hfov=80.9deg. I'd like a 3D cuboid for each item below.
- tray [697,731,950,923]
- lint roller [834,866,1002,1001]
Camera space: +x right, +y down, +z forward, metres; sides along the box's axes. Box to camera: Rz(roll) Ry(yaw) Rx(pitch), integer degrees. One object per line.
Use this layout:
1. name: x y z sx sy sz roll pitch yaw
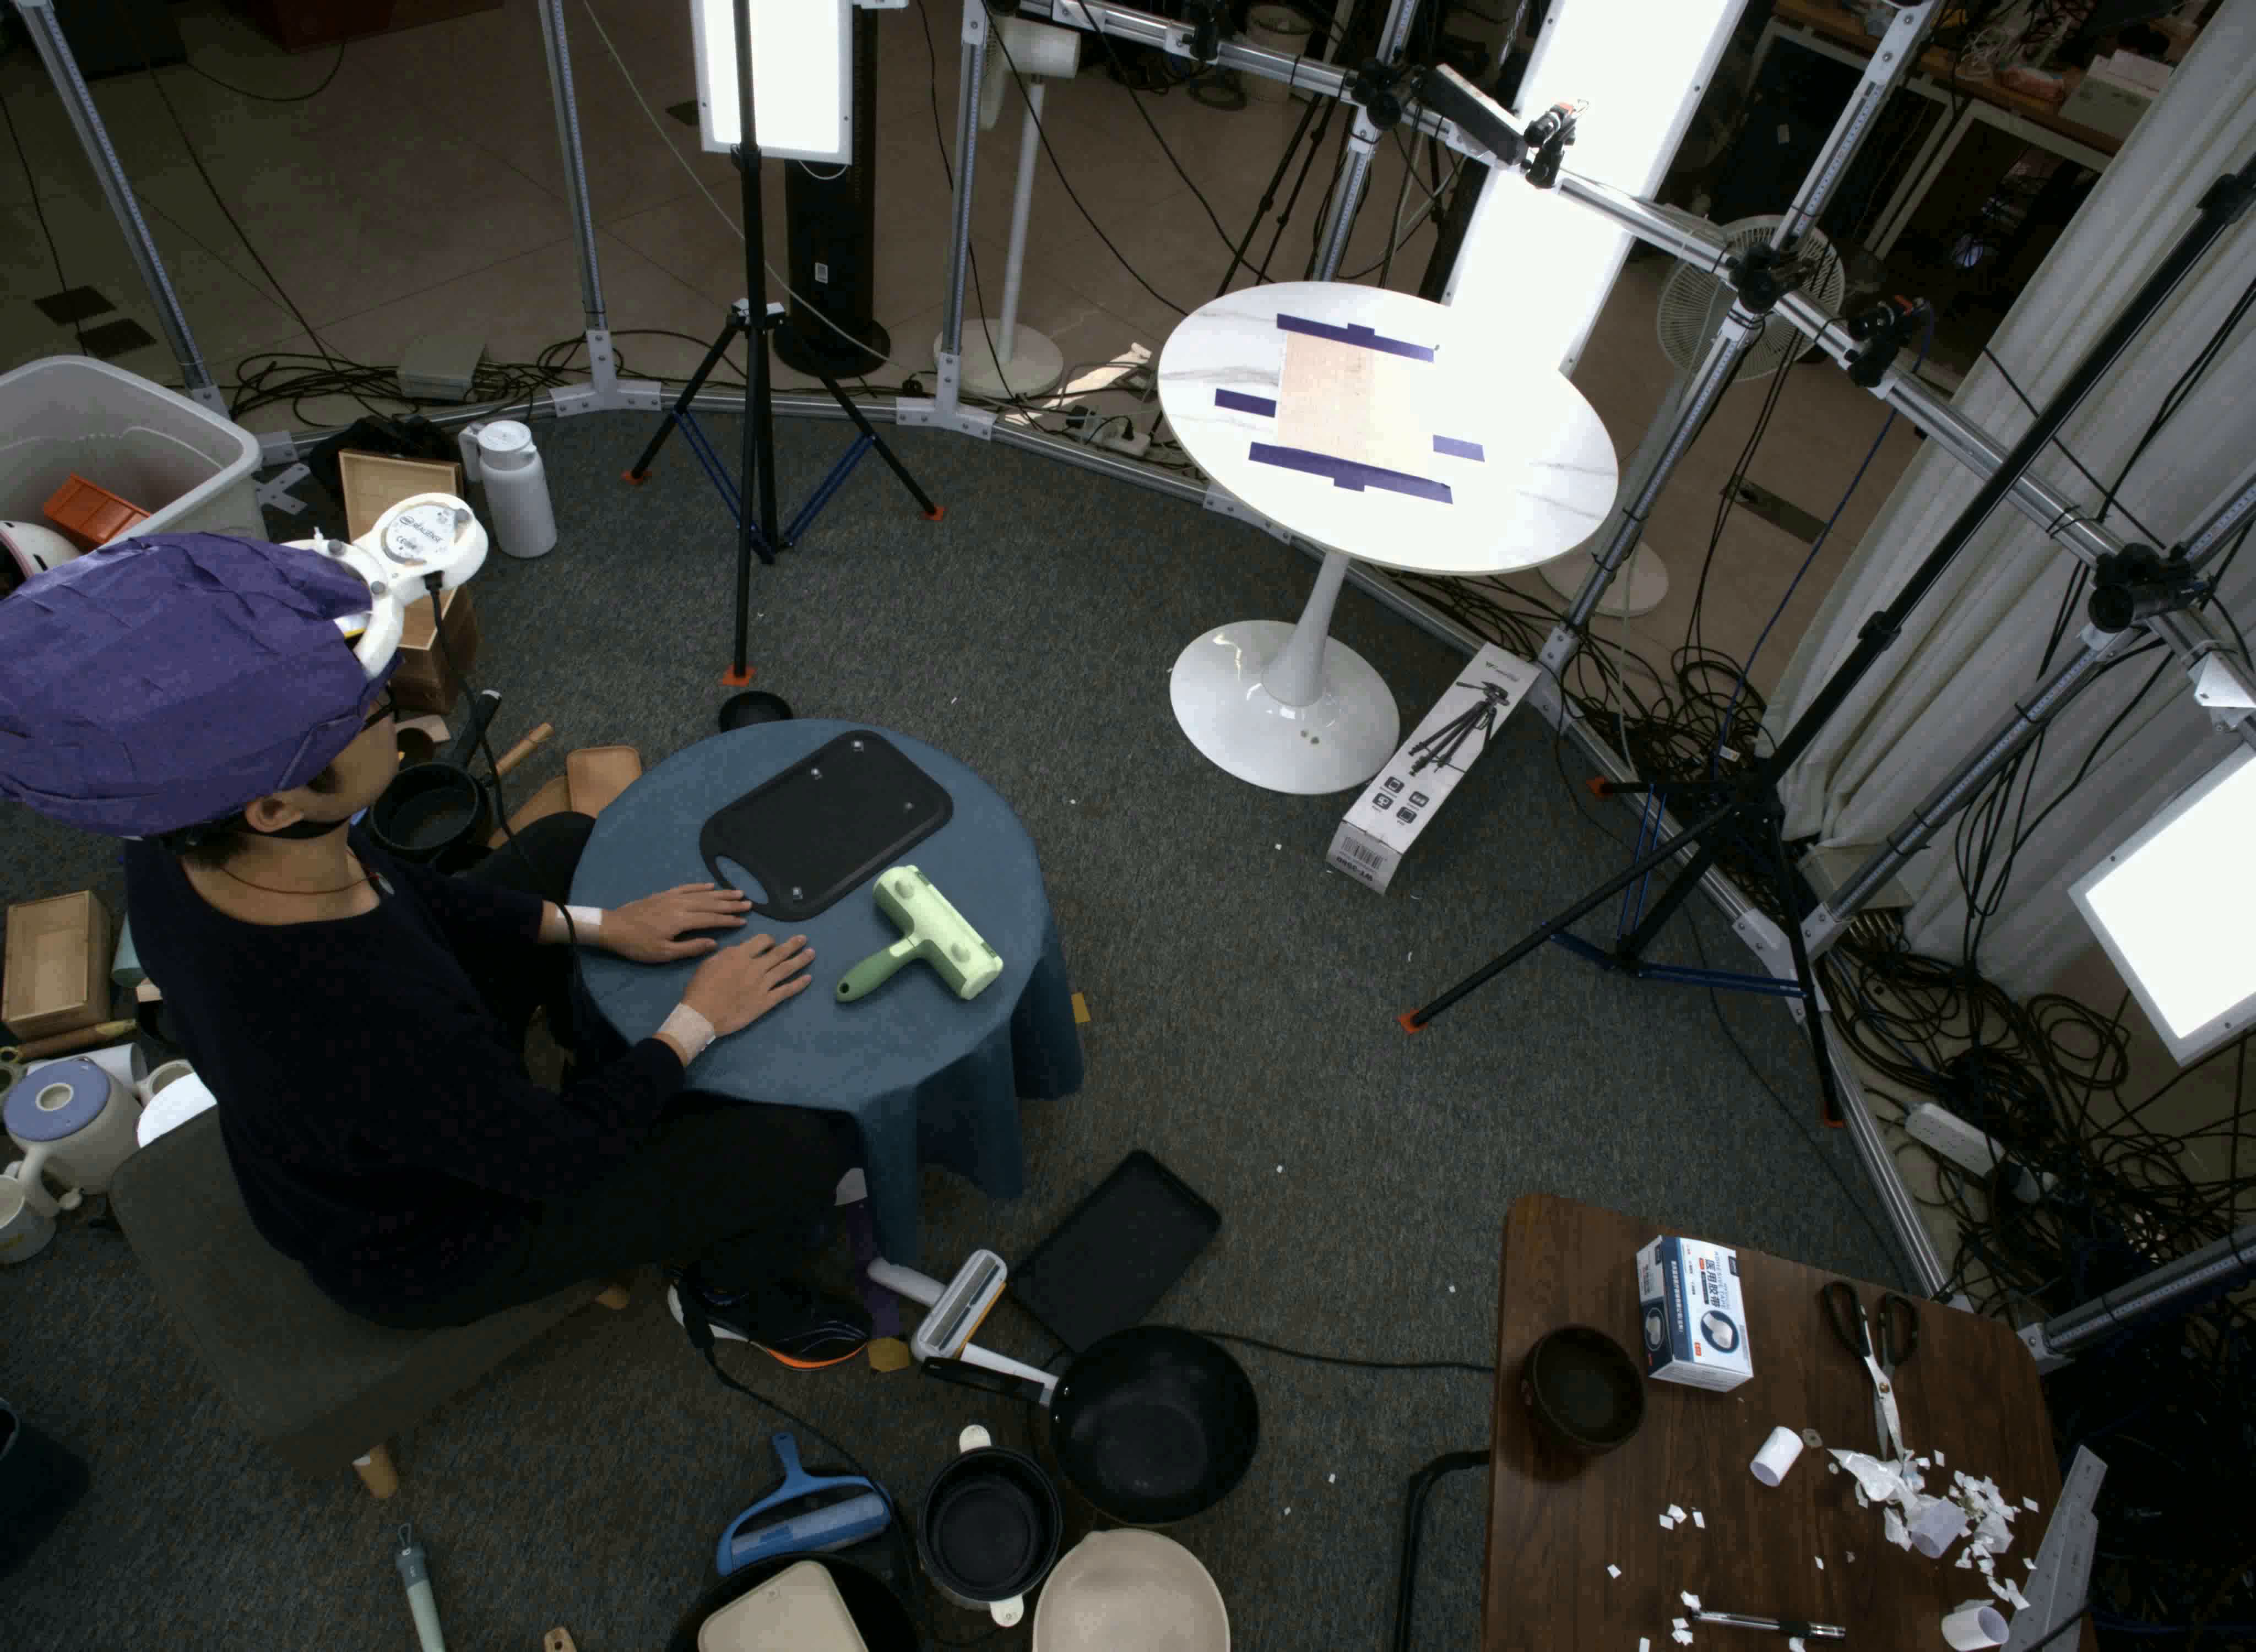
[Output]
1. tray: -0.404 -0.003 1.718 0.206 0.010 0.326 40 54 16
2. lint roller: -0.280 0.146 1.587 0.194 0.084 0.184 43 48 20
